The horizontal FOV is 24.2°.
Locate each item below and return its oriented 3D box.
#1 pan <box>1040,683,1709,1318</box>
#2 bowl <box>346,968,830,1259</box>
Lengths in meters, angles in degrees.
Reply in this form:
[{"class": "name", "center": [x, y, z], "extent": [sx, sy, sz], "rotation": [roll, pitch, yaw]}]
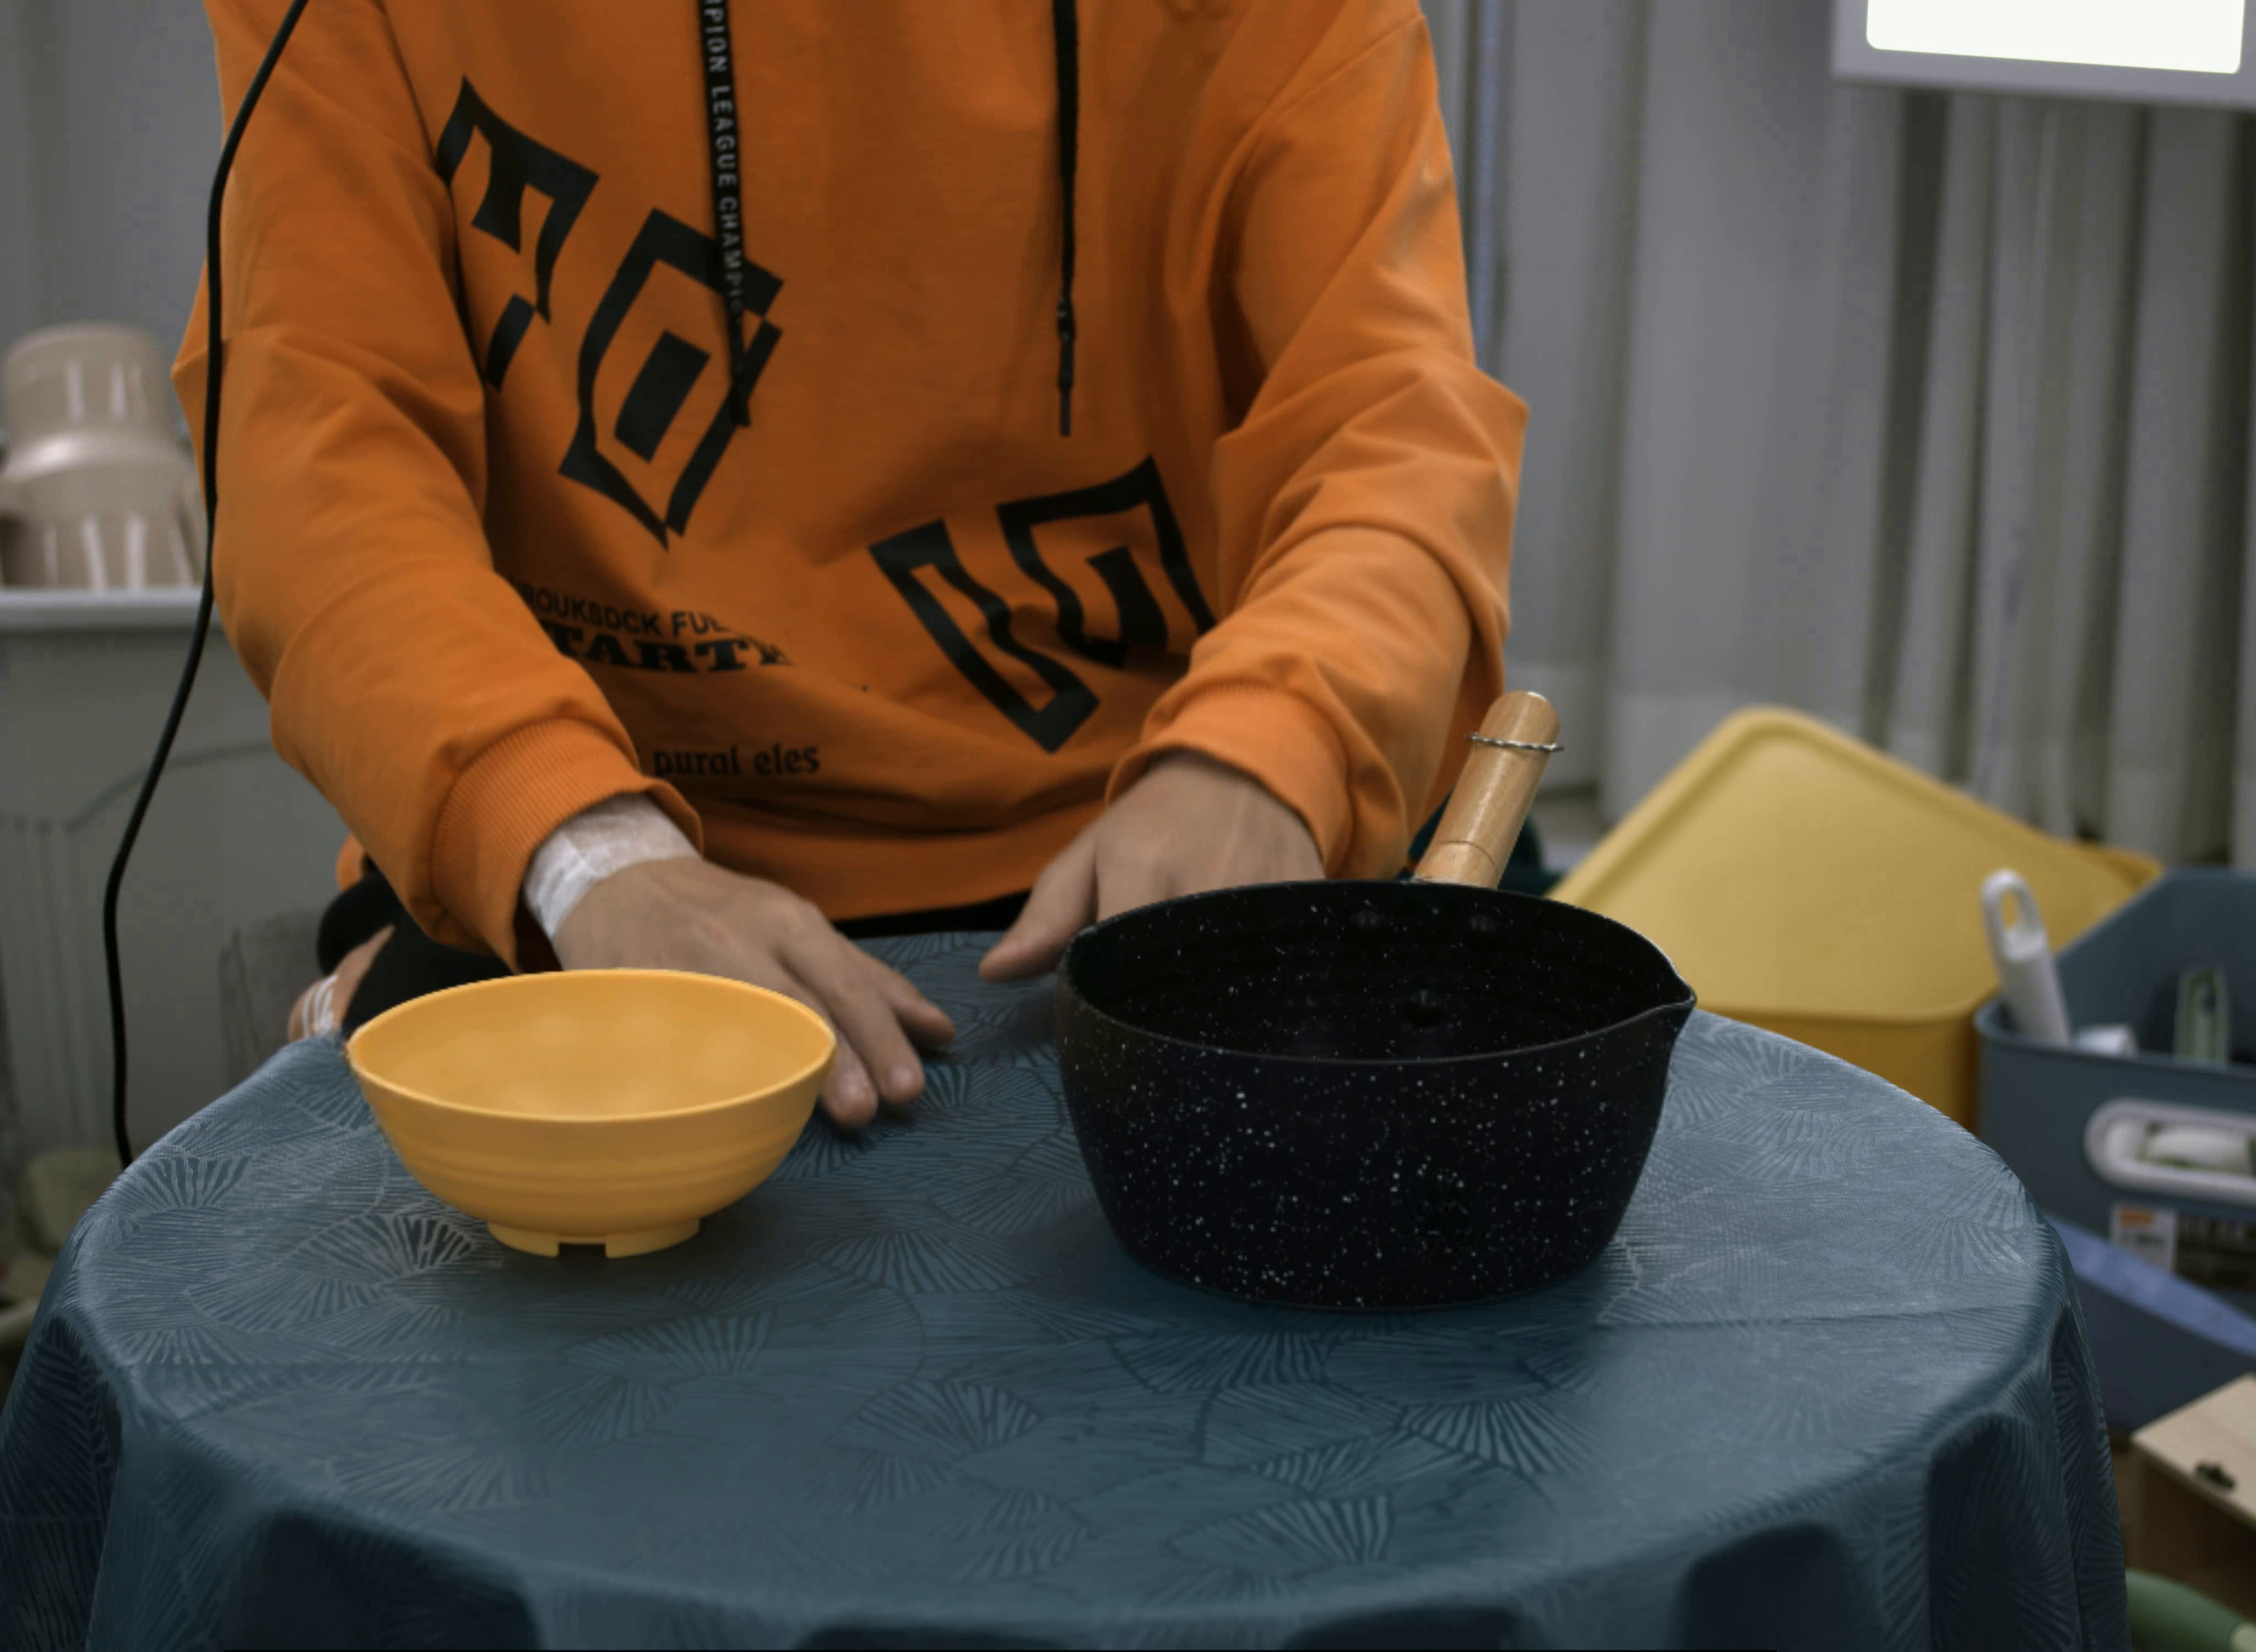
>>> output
[{"class": "pan", "center": [0.090, 0.049, 1.649], "extent": [0.206, 0.109, 0.342], "rotation": [3, 17, 14]}, {"class": "bowl", "center": [-0.162, 0.092, 1.583], "extent": [0.145, 0.060, 0.144], "rotation": [2, 15, 0]}]
